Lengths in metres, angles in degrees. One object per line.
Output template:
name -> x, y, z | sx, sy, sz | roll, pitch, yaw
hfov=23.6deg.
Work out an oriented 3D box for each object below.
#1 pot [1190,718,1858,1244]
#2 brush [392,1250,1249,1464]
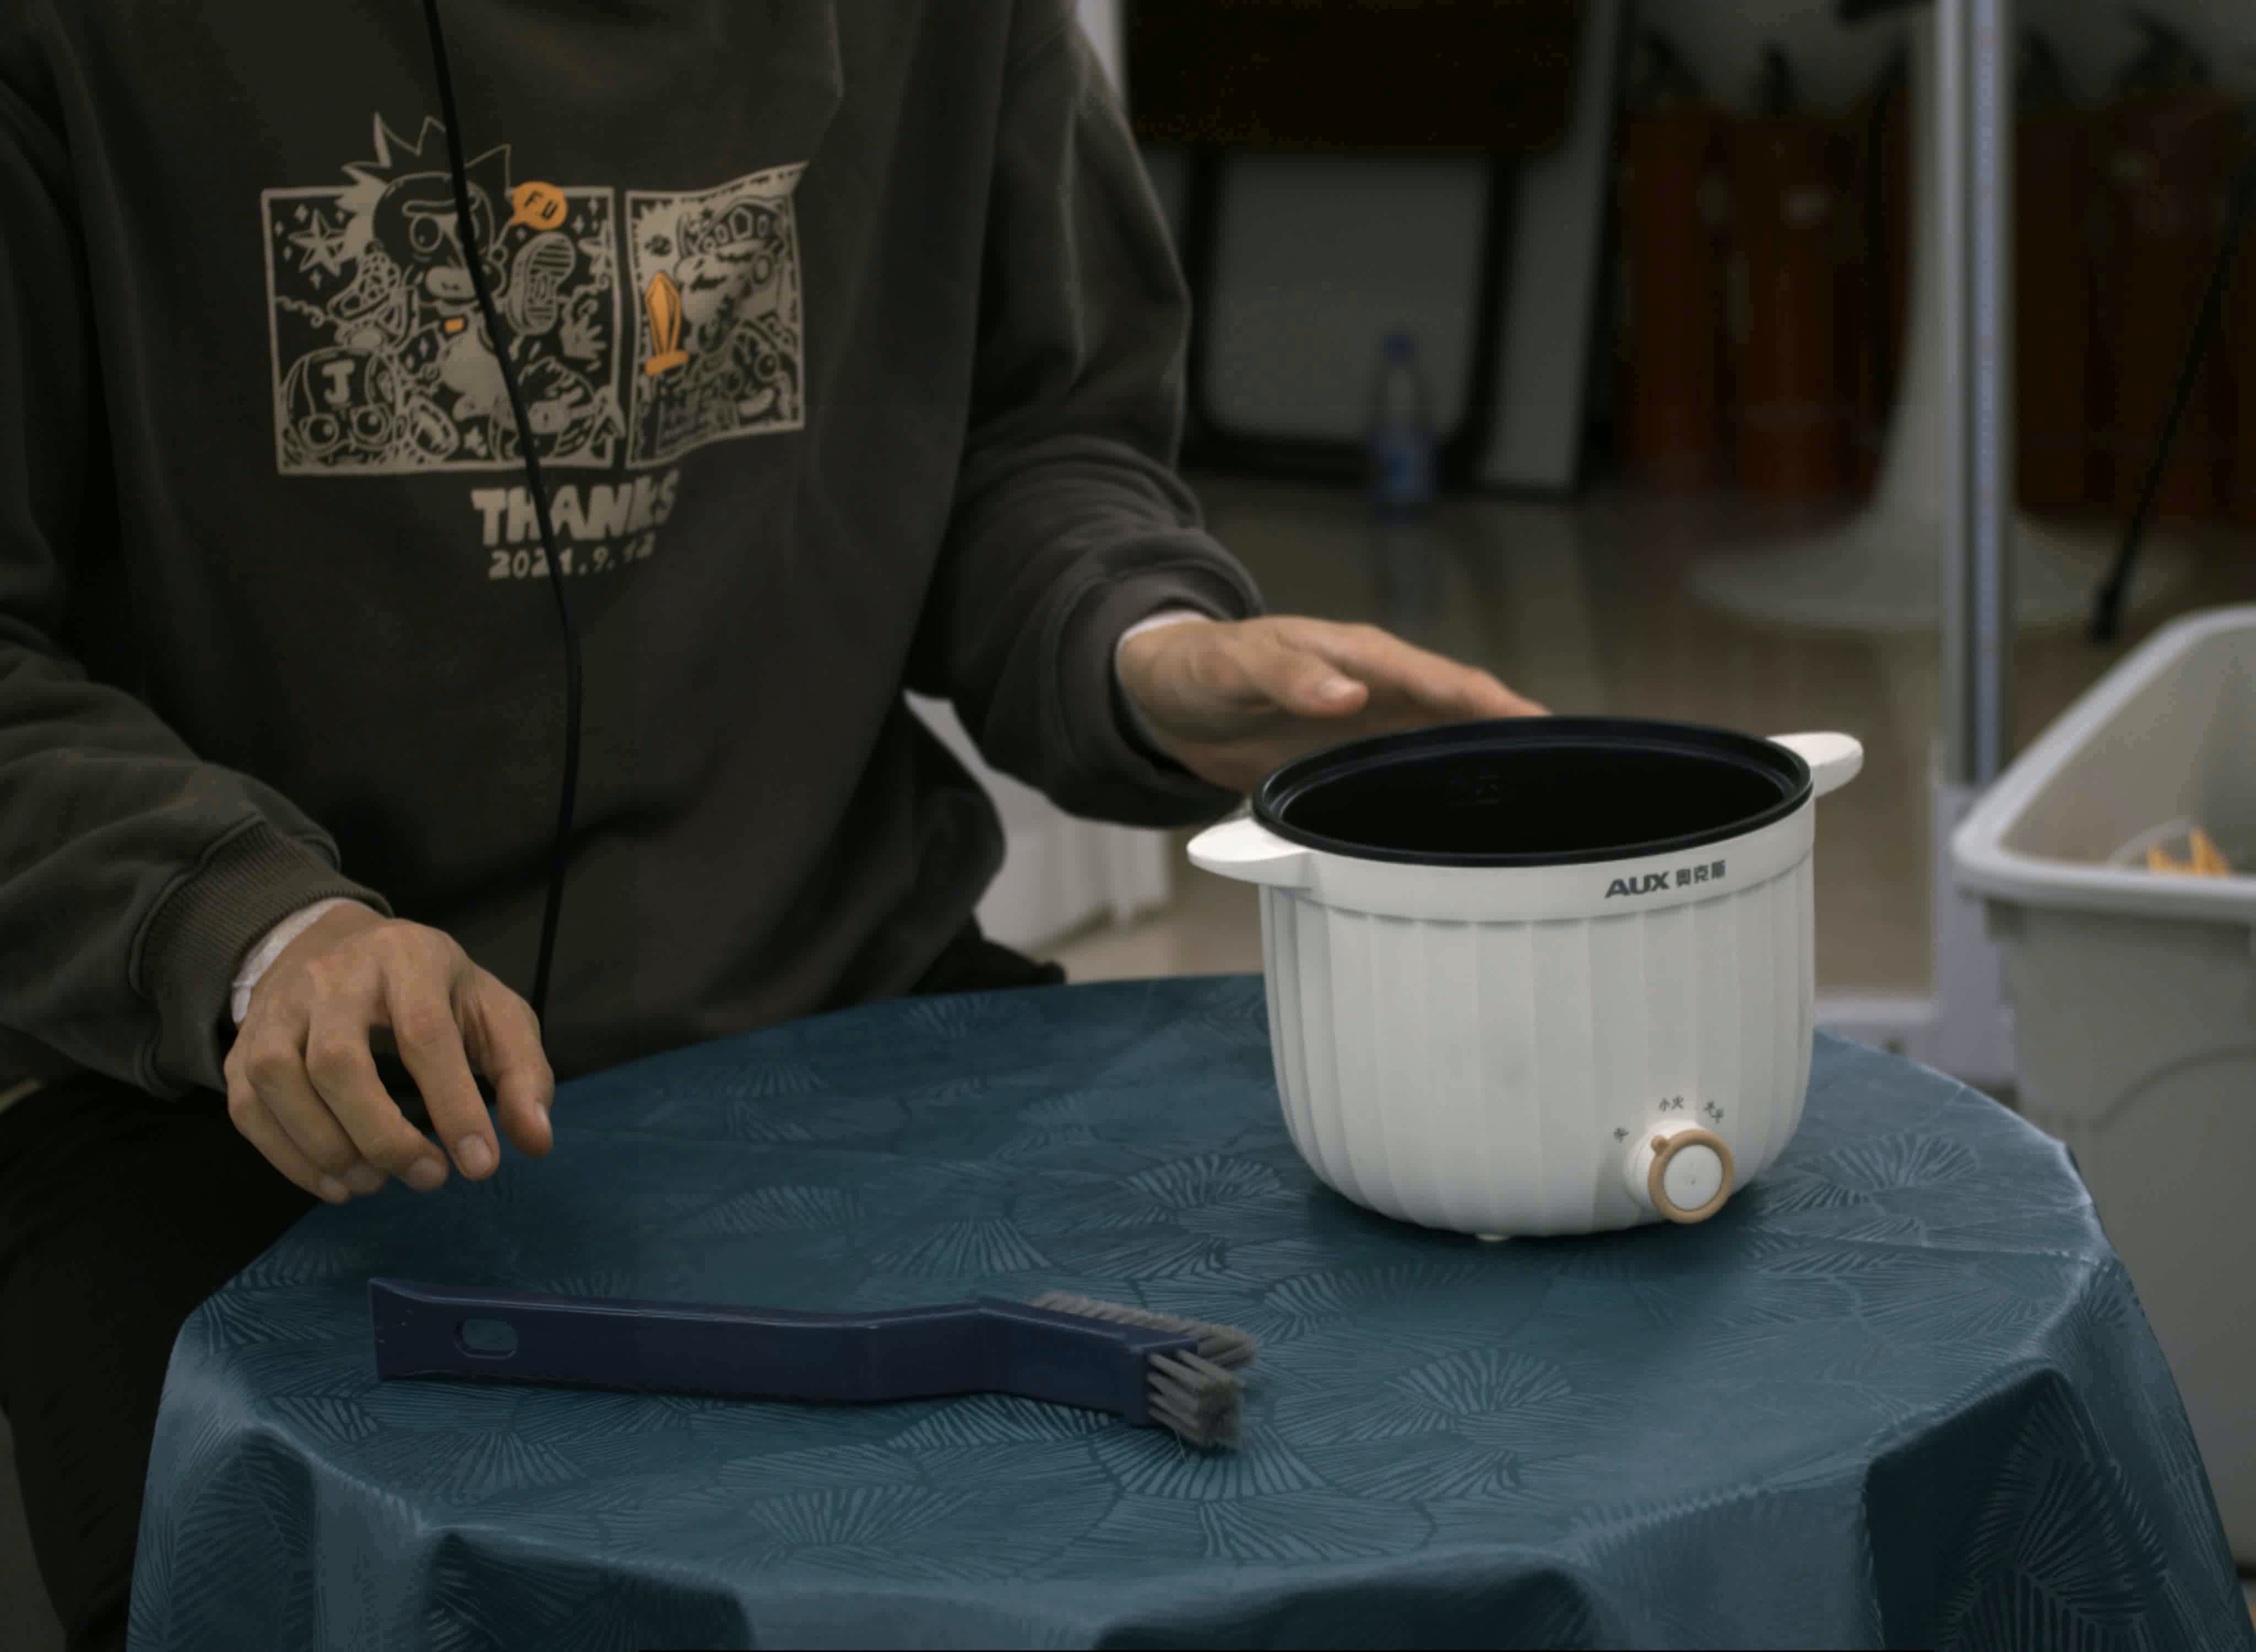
pot -> 0.137, 0.051, 1.730 | 0.235, 0.144, 0.192 | -11, 11, -21
brush -> -0.098, 0.155, 1.591 | 0.272, 0.034, 0.095 | 1, 11, 14
